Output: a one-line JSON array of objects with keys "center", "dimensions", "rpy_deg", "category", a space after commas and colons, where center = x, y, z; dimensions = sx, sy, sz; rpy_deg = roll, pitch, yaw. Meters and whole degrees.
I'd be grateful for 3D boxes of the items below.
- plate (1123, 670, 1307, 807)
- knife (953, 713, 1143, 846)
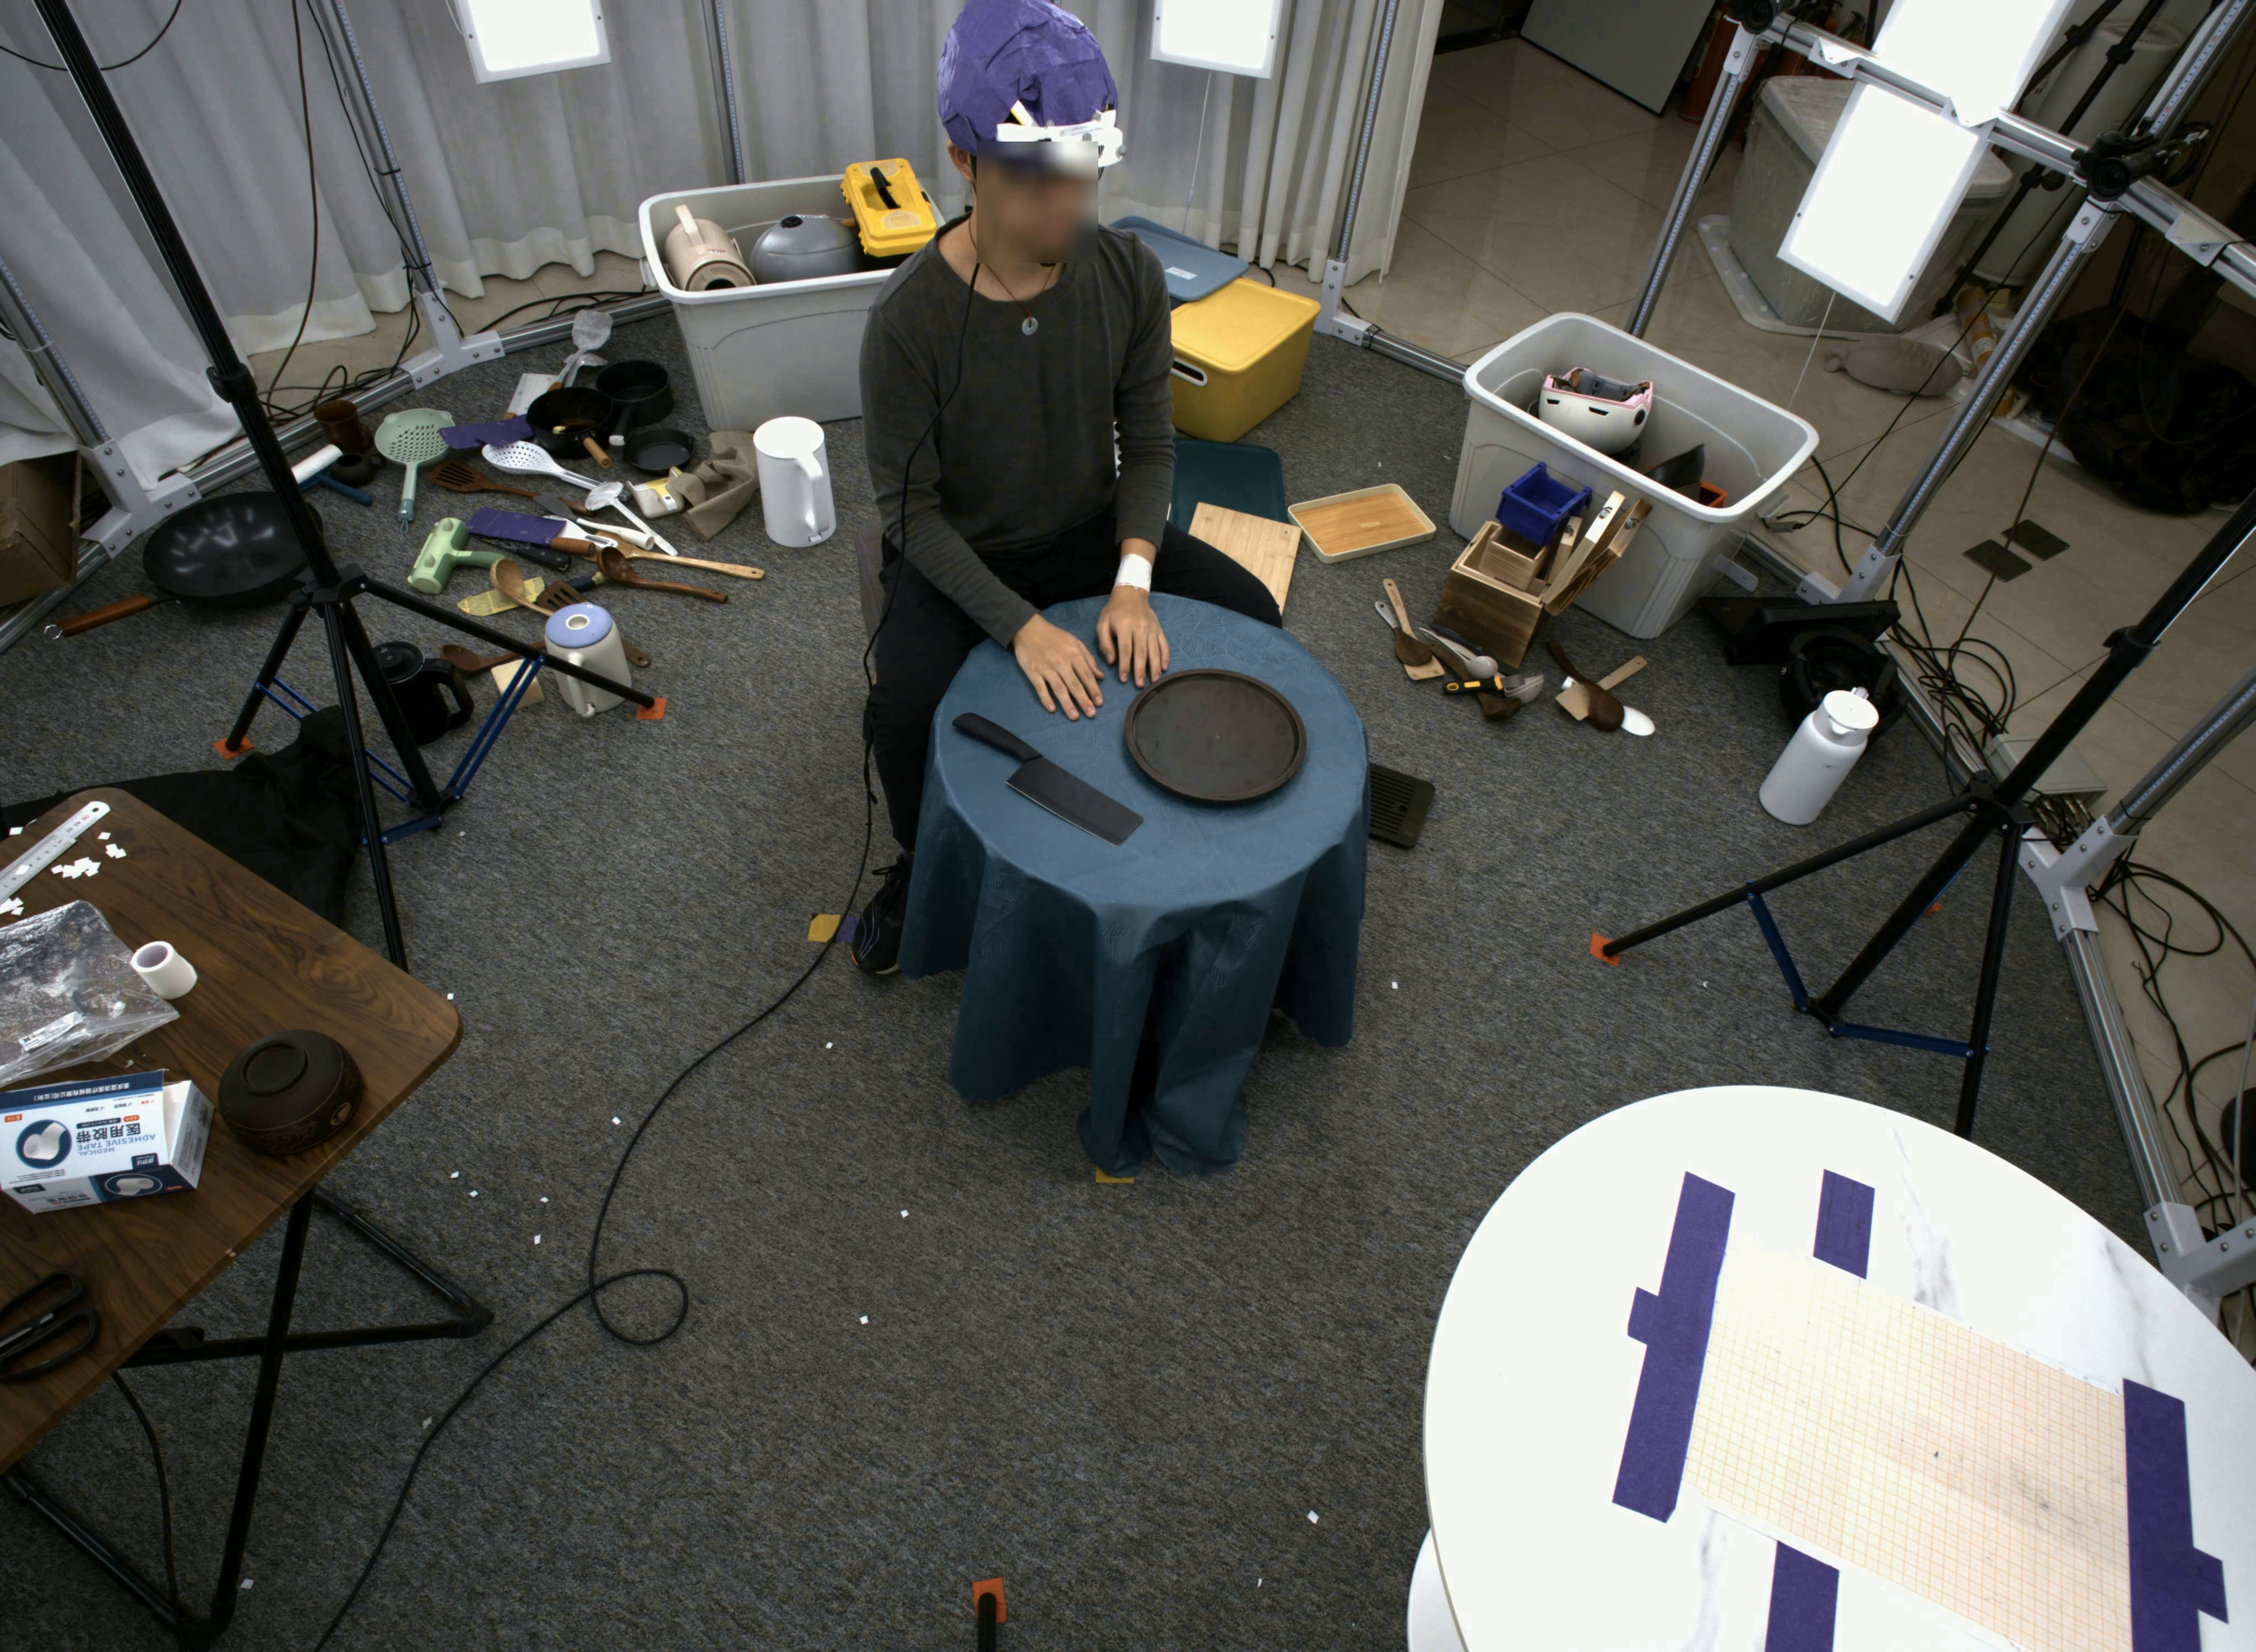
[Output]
[{"center": [0.119, -0.123, 1.768], "dimensions": [0.254, 0.028, 0.261], "rpy_deg": [2, 50, -3], "category": "plate"}, {"center": [-0.116, -0.066, 1.708], "dimensions": [0.306, 0.020, 0.082], "rpy_deg": [35, 57, 22], "category": "knife"}]
